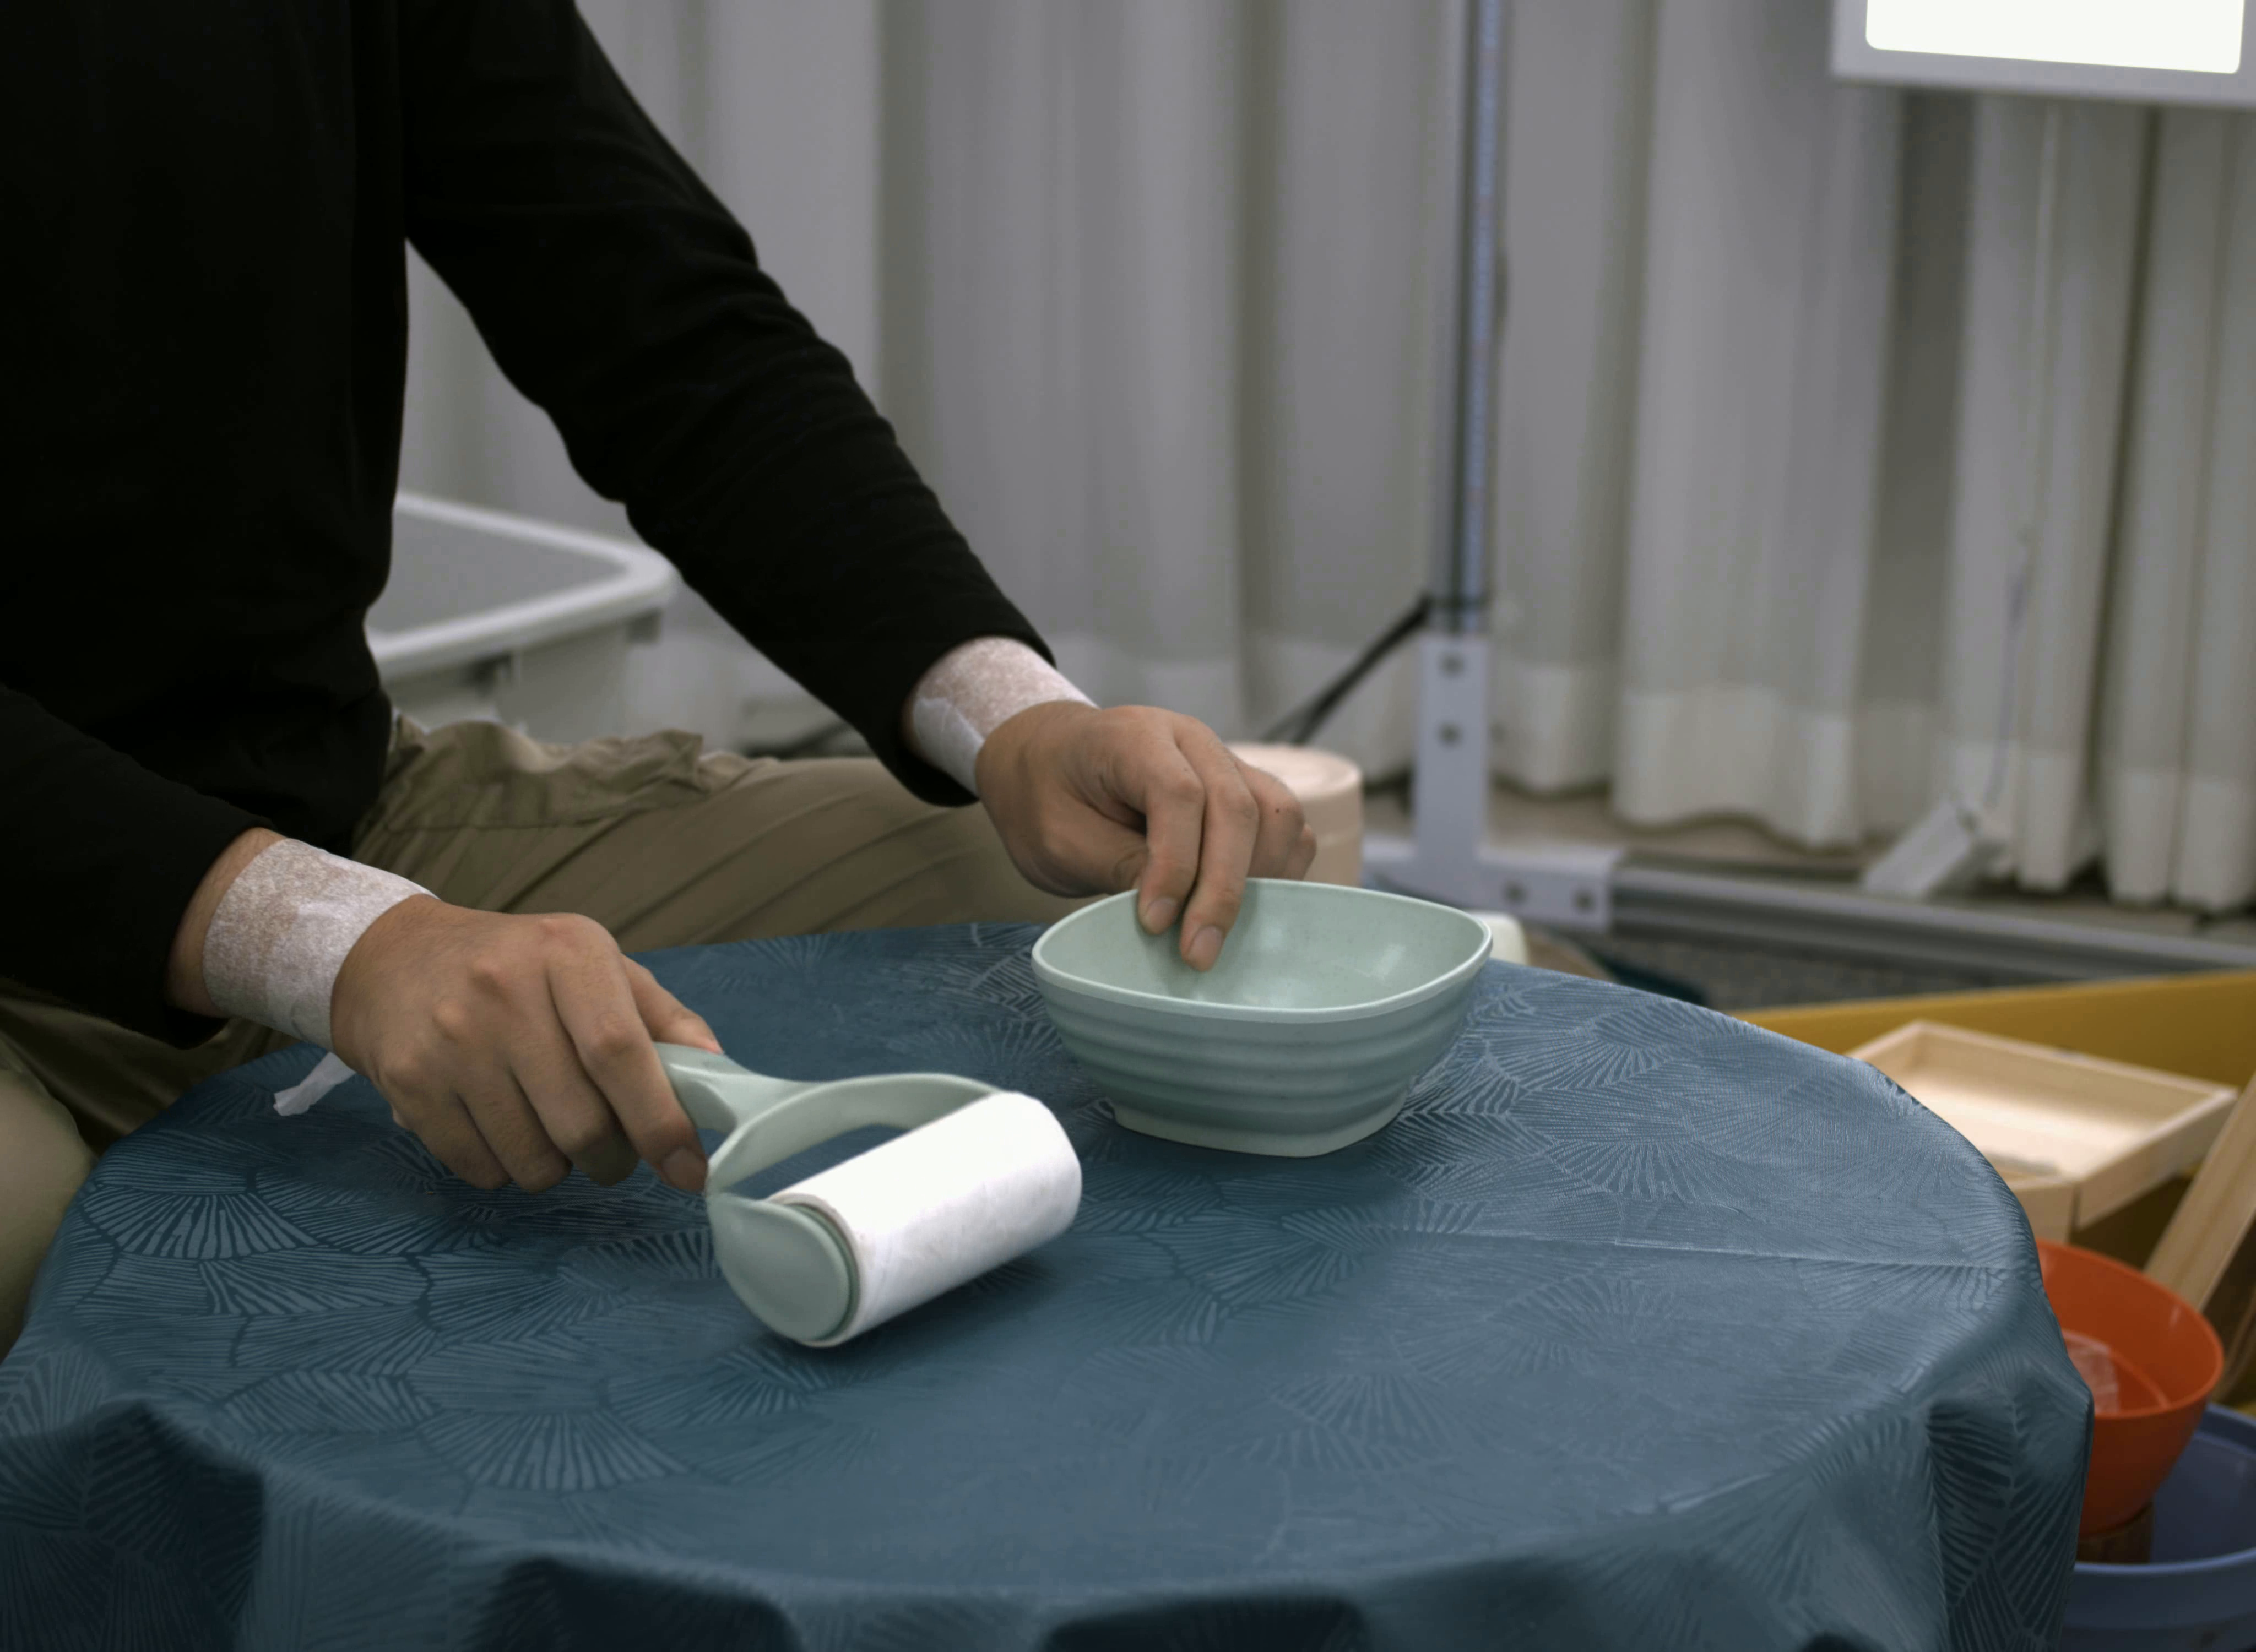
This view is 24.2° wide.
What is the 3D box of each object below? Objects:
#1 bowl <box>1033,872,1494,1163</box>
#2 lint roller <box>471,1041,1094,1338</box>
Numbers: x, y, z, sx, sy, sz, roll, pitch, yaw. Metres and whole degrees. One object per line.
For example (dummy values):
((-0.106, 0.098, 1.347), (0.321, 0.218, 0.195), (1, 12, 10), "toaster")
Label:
((0.043, 0.064, 1.689), (0.151, 0.059, 0.150), (1, 17, 0), "bowl")
((-0.116, 0.090, 1.559), (0.195, 0.049, 0.117), (19, 28, 32), "lint roller")
